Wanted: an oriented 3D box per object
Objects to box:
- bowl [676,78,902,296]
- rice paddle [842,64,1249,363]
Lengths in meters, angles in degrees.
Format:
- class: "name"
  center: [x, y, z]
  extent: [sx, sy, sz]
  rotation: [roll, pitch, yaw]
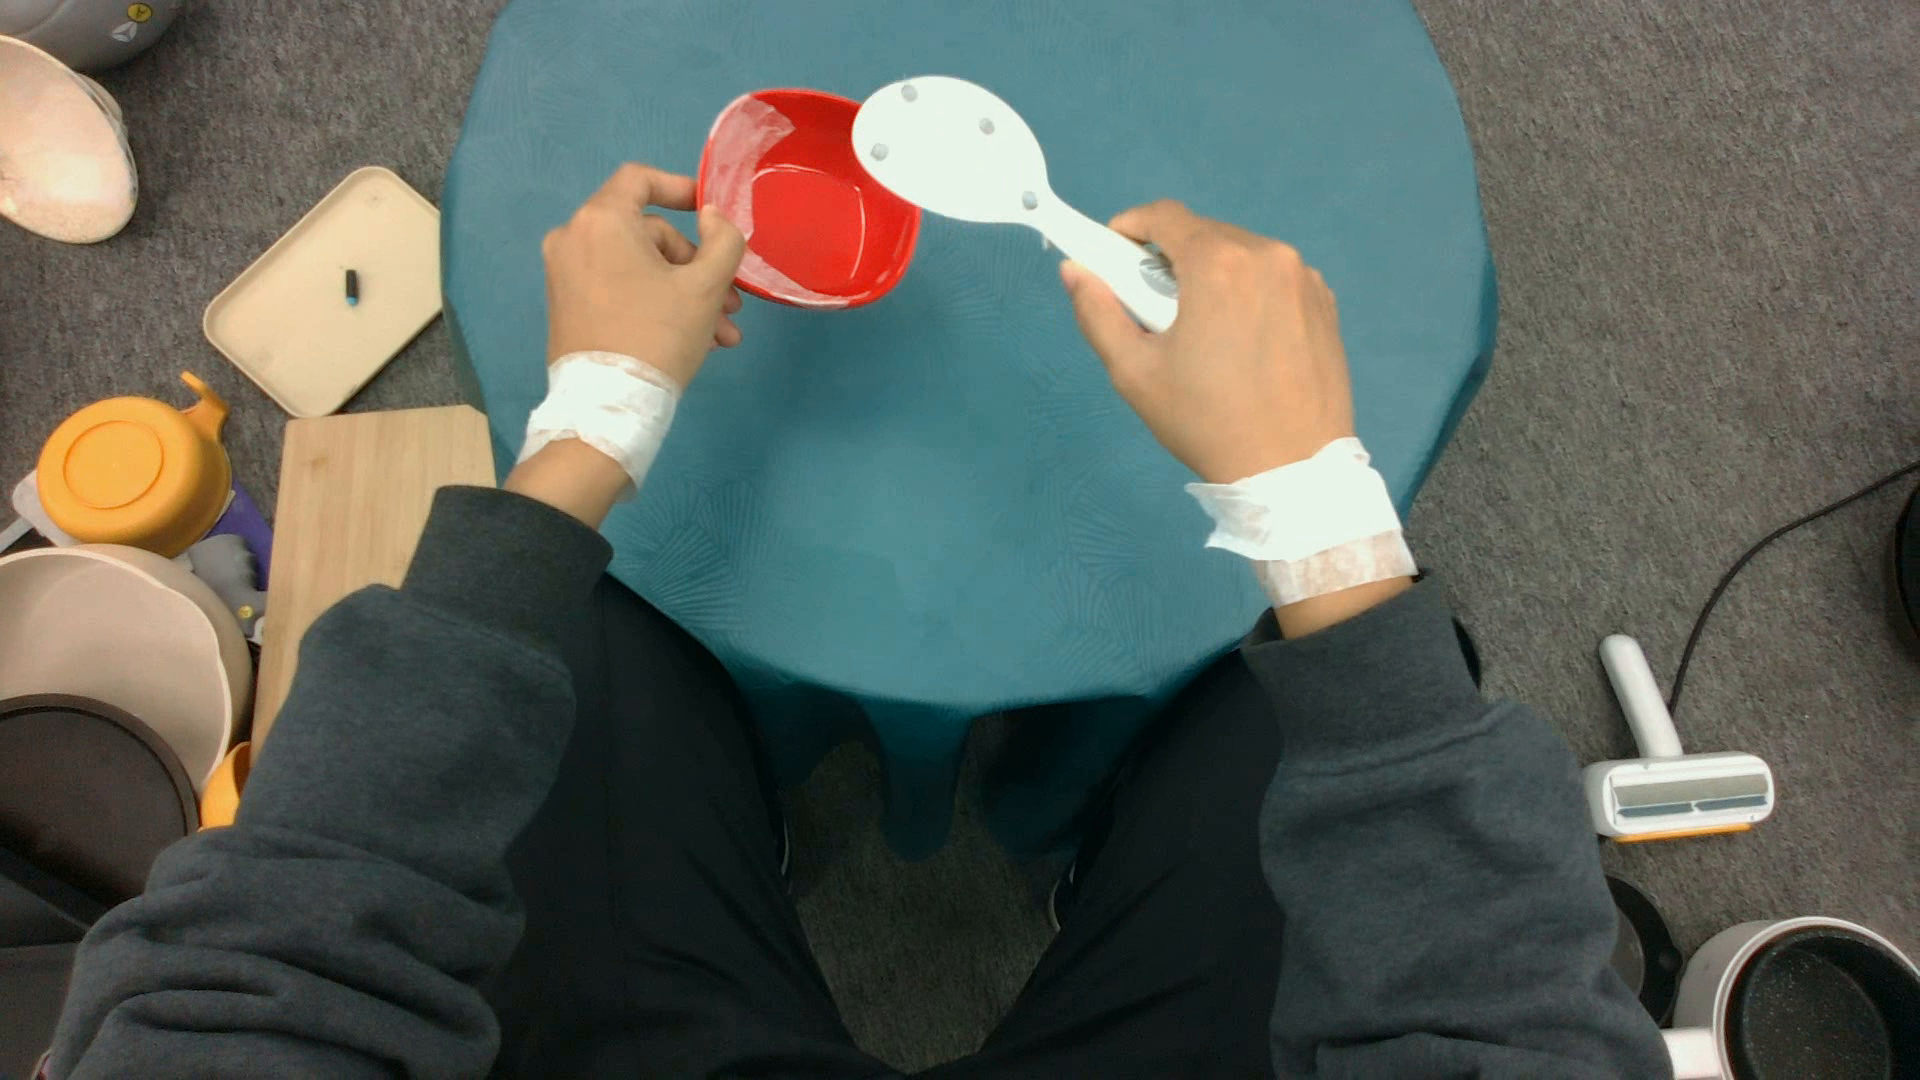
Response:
- class: "bowl"
  center: [-0.088, -0.171, 0.698]
  extent: [0.119, 0.051, 0.119]
  rotation: [3, 79, -13]
- class: "rice paddle"
  center: [0.032, -0.145, 0.585]
  extent: [0.205, 0.029, 0.069]
  rotation: [39, 68, 17]
